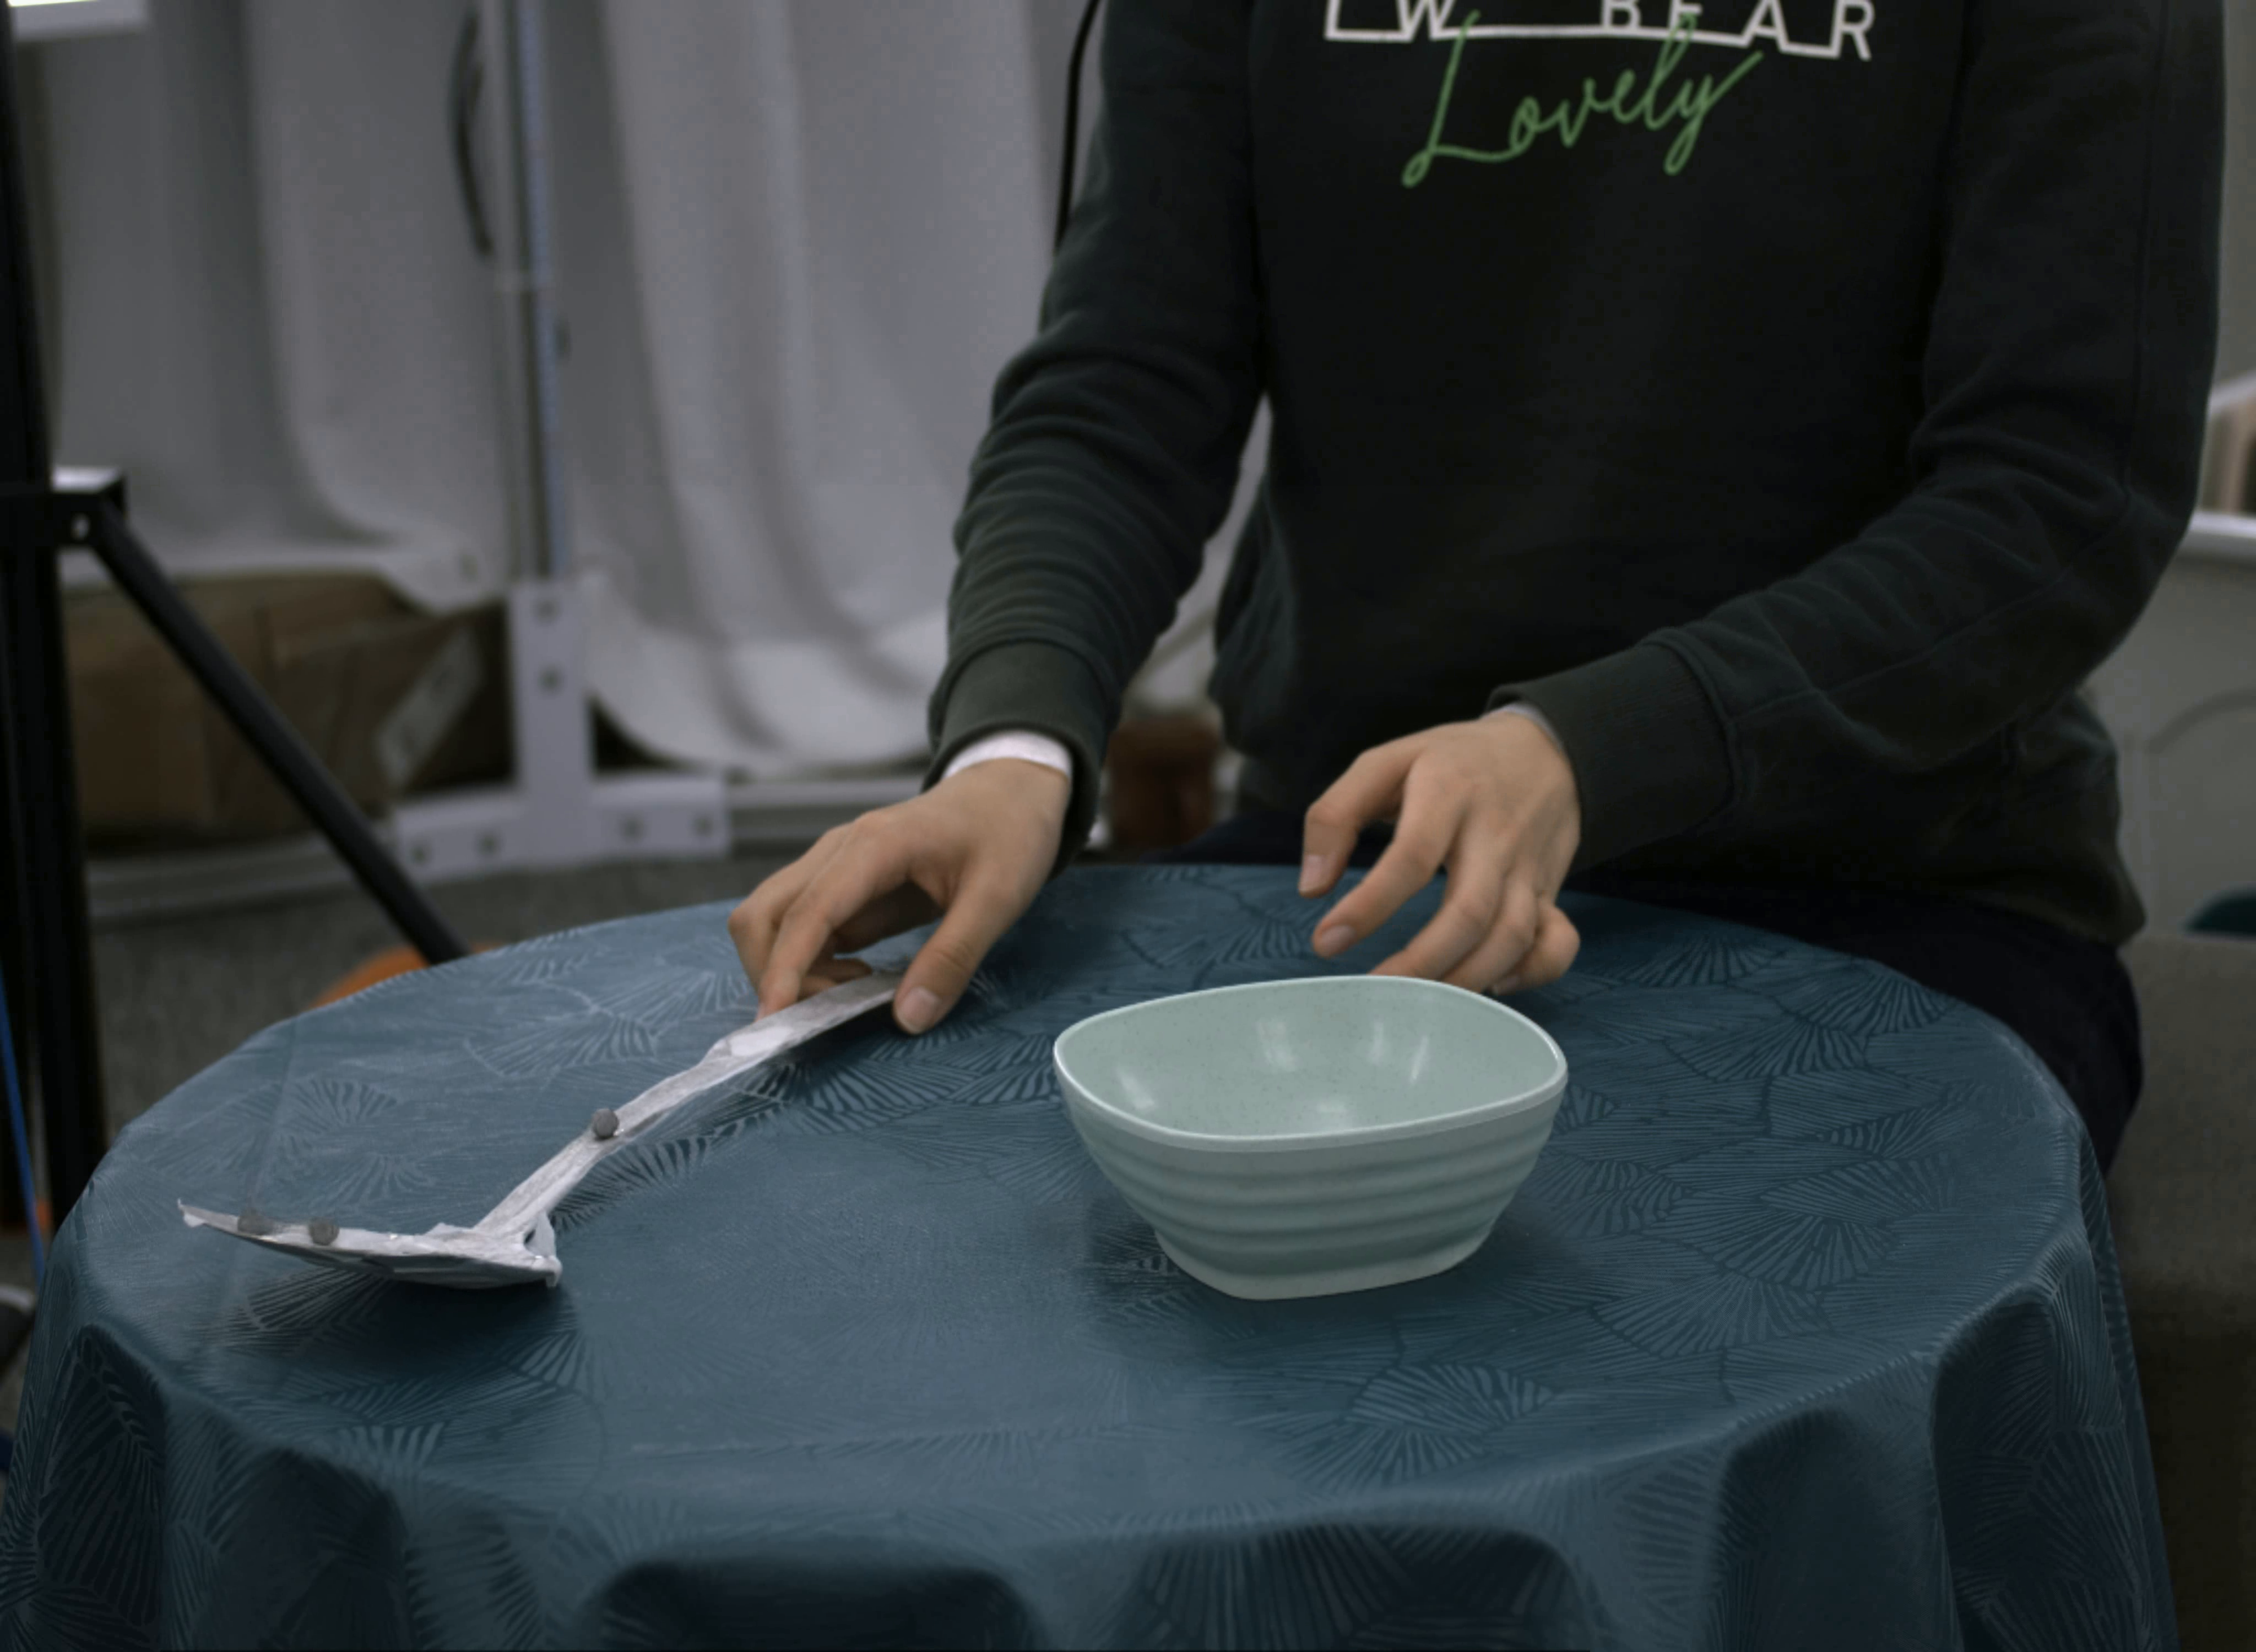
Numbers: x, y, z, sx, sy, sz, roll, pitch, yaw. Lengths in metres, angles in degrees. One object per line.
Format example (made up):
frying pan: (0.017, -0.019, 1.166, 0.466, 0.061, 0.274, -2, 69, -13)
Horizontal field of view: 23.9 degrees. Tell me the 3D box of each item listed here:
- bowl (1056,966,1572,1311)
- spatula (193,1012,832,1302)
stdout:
bowl: (0.053, 0.092, 1.504, 0.151, 0.058, 0.152, -3, 18, 0)
spatula: (-0.161, 0.086, 1.590, 0.099, 0.045, 0.360, 19, 18, 15)
